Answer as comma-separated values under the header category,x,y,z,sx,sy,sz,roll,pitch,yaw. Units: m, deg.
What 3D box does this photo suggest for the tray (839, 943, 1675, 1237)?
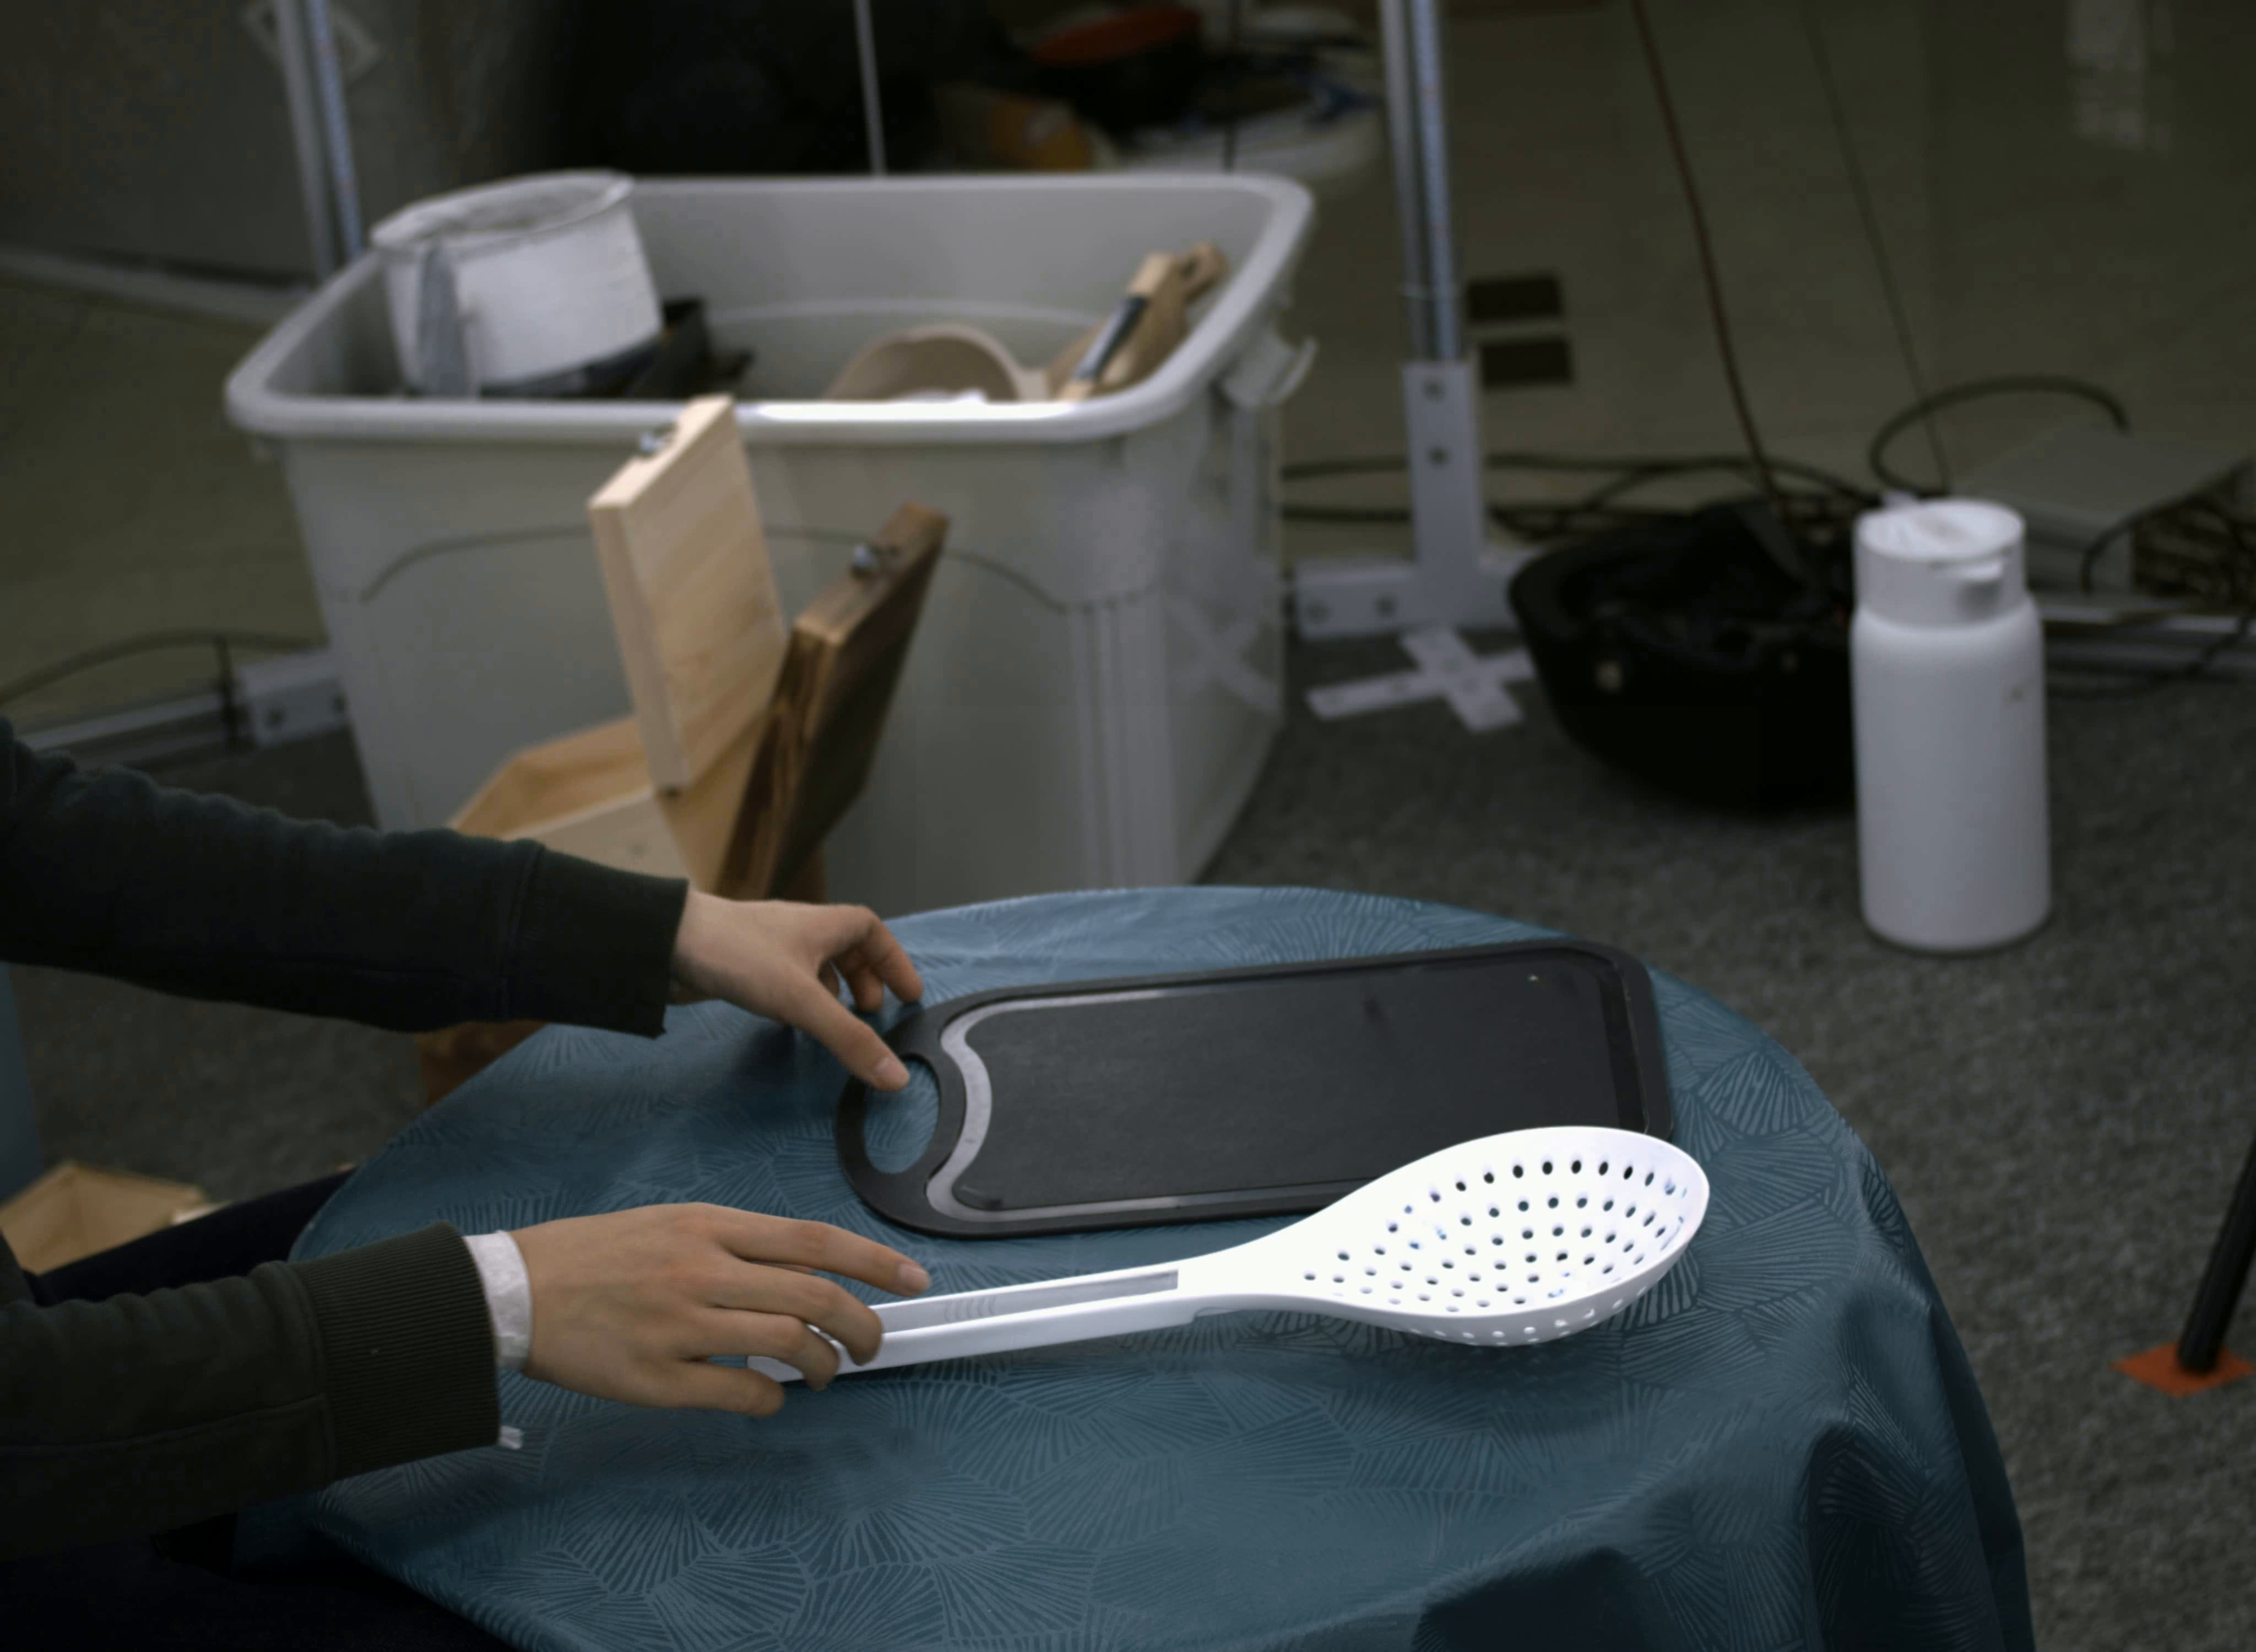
category,x,y,z,sx,sy,sz,roll,pitch,yaw
tray,0.048,0.101,2.215,0.325,0.010,0.208,-5,24,4

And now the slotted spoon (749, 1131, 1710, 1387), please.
category,x,y,z,sx,sy,sz,roll,pitch,yaw
slotted spoon,0.035,0.165,2.035,0.349,0.046,0.134,-5,23,5
